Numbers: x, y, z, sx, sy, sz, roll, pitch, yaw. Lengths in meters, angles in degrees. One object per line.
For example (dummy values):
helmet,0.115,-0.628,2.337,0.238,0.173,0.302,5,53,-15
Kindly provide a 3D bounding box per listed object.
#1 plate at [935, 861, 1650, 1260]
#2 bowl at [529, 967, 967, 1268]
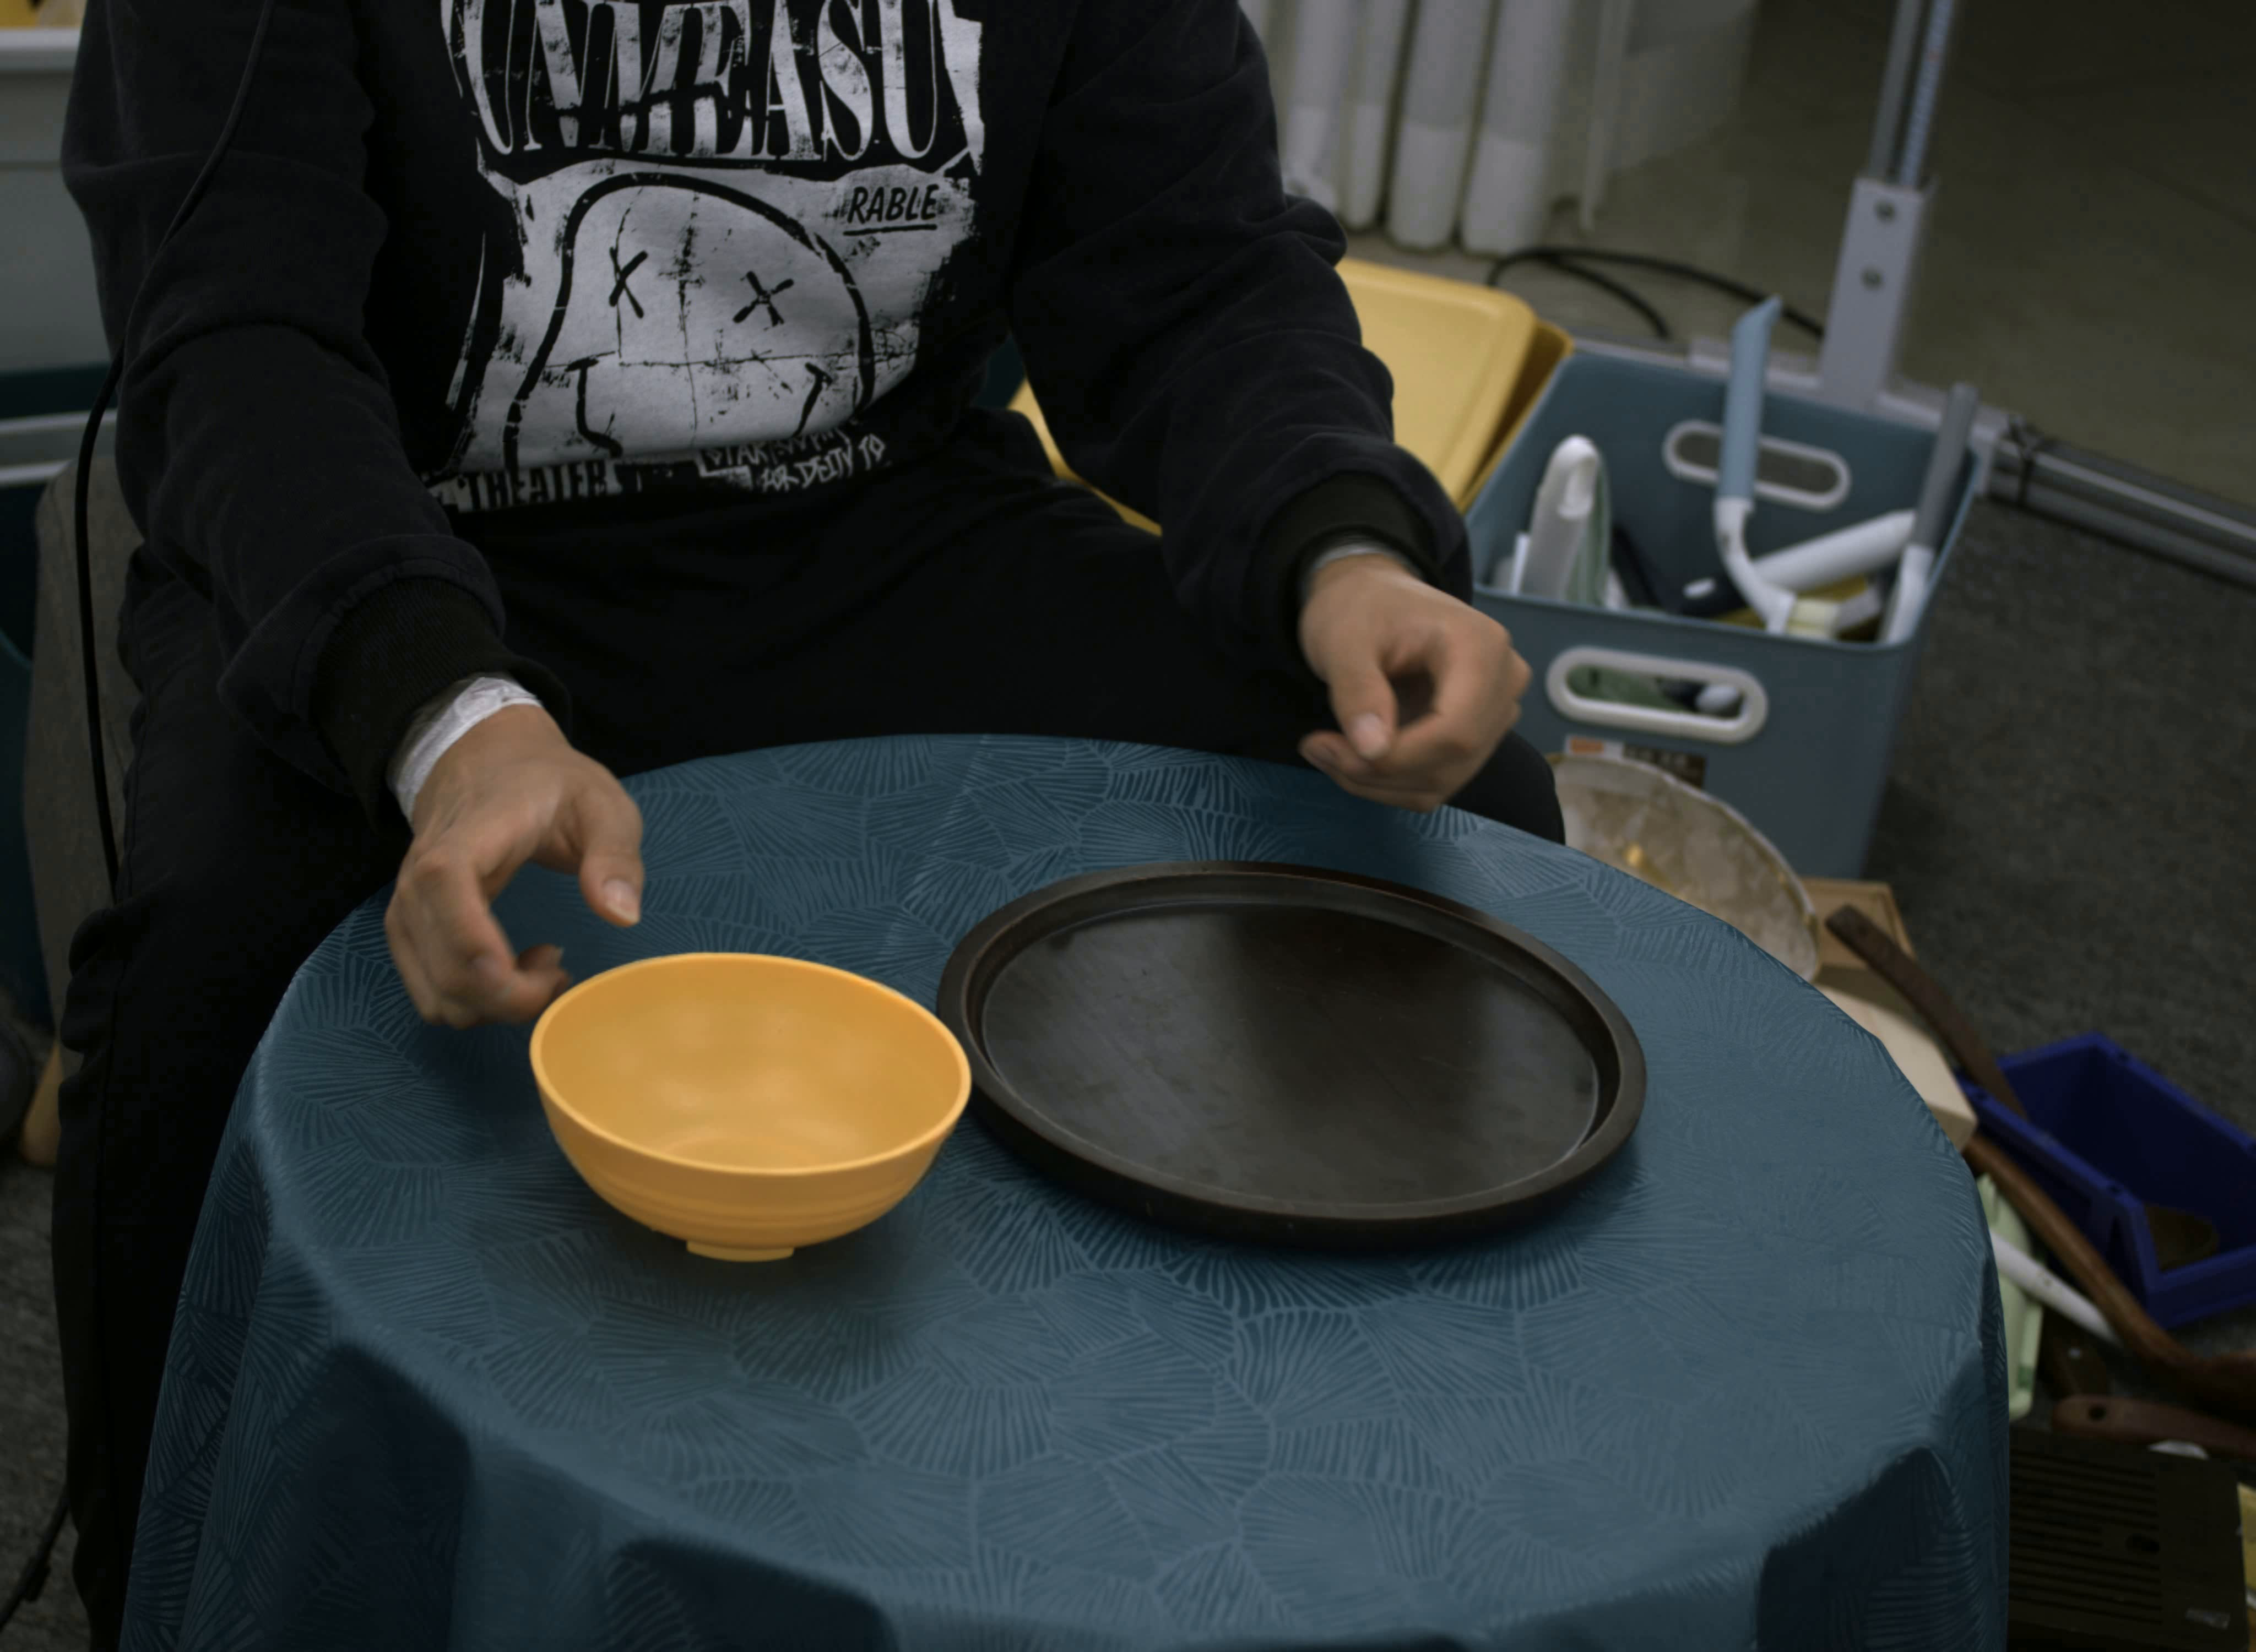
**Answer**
plate,0.058,0.081,1.874,0.254,0.029,0.256,4,27,-2
bowl,-0.127,0.104,1.750,0.145,0.060,0.146,6,24,-3
